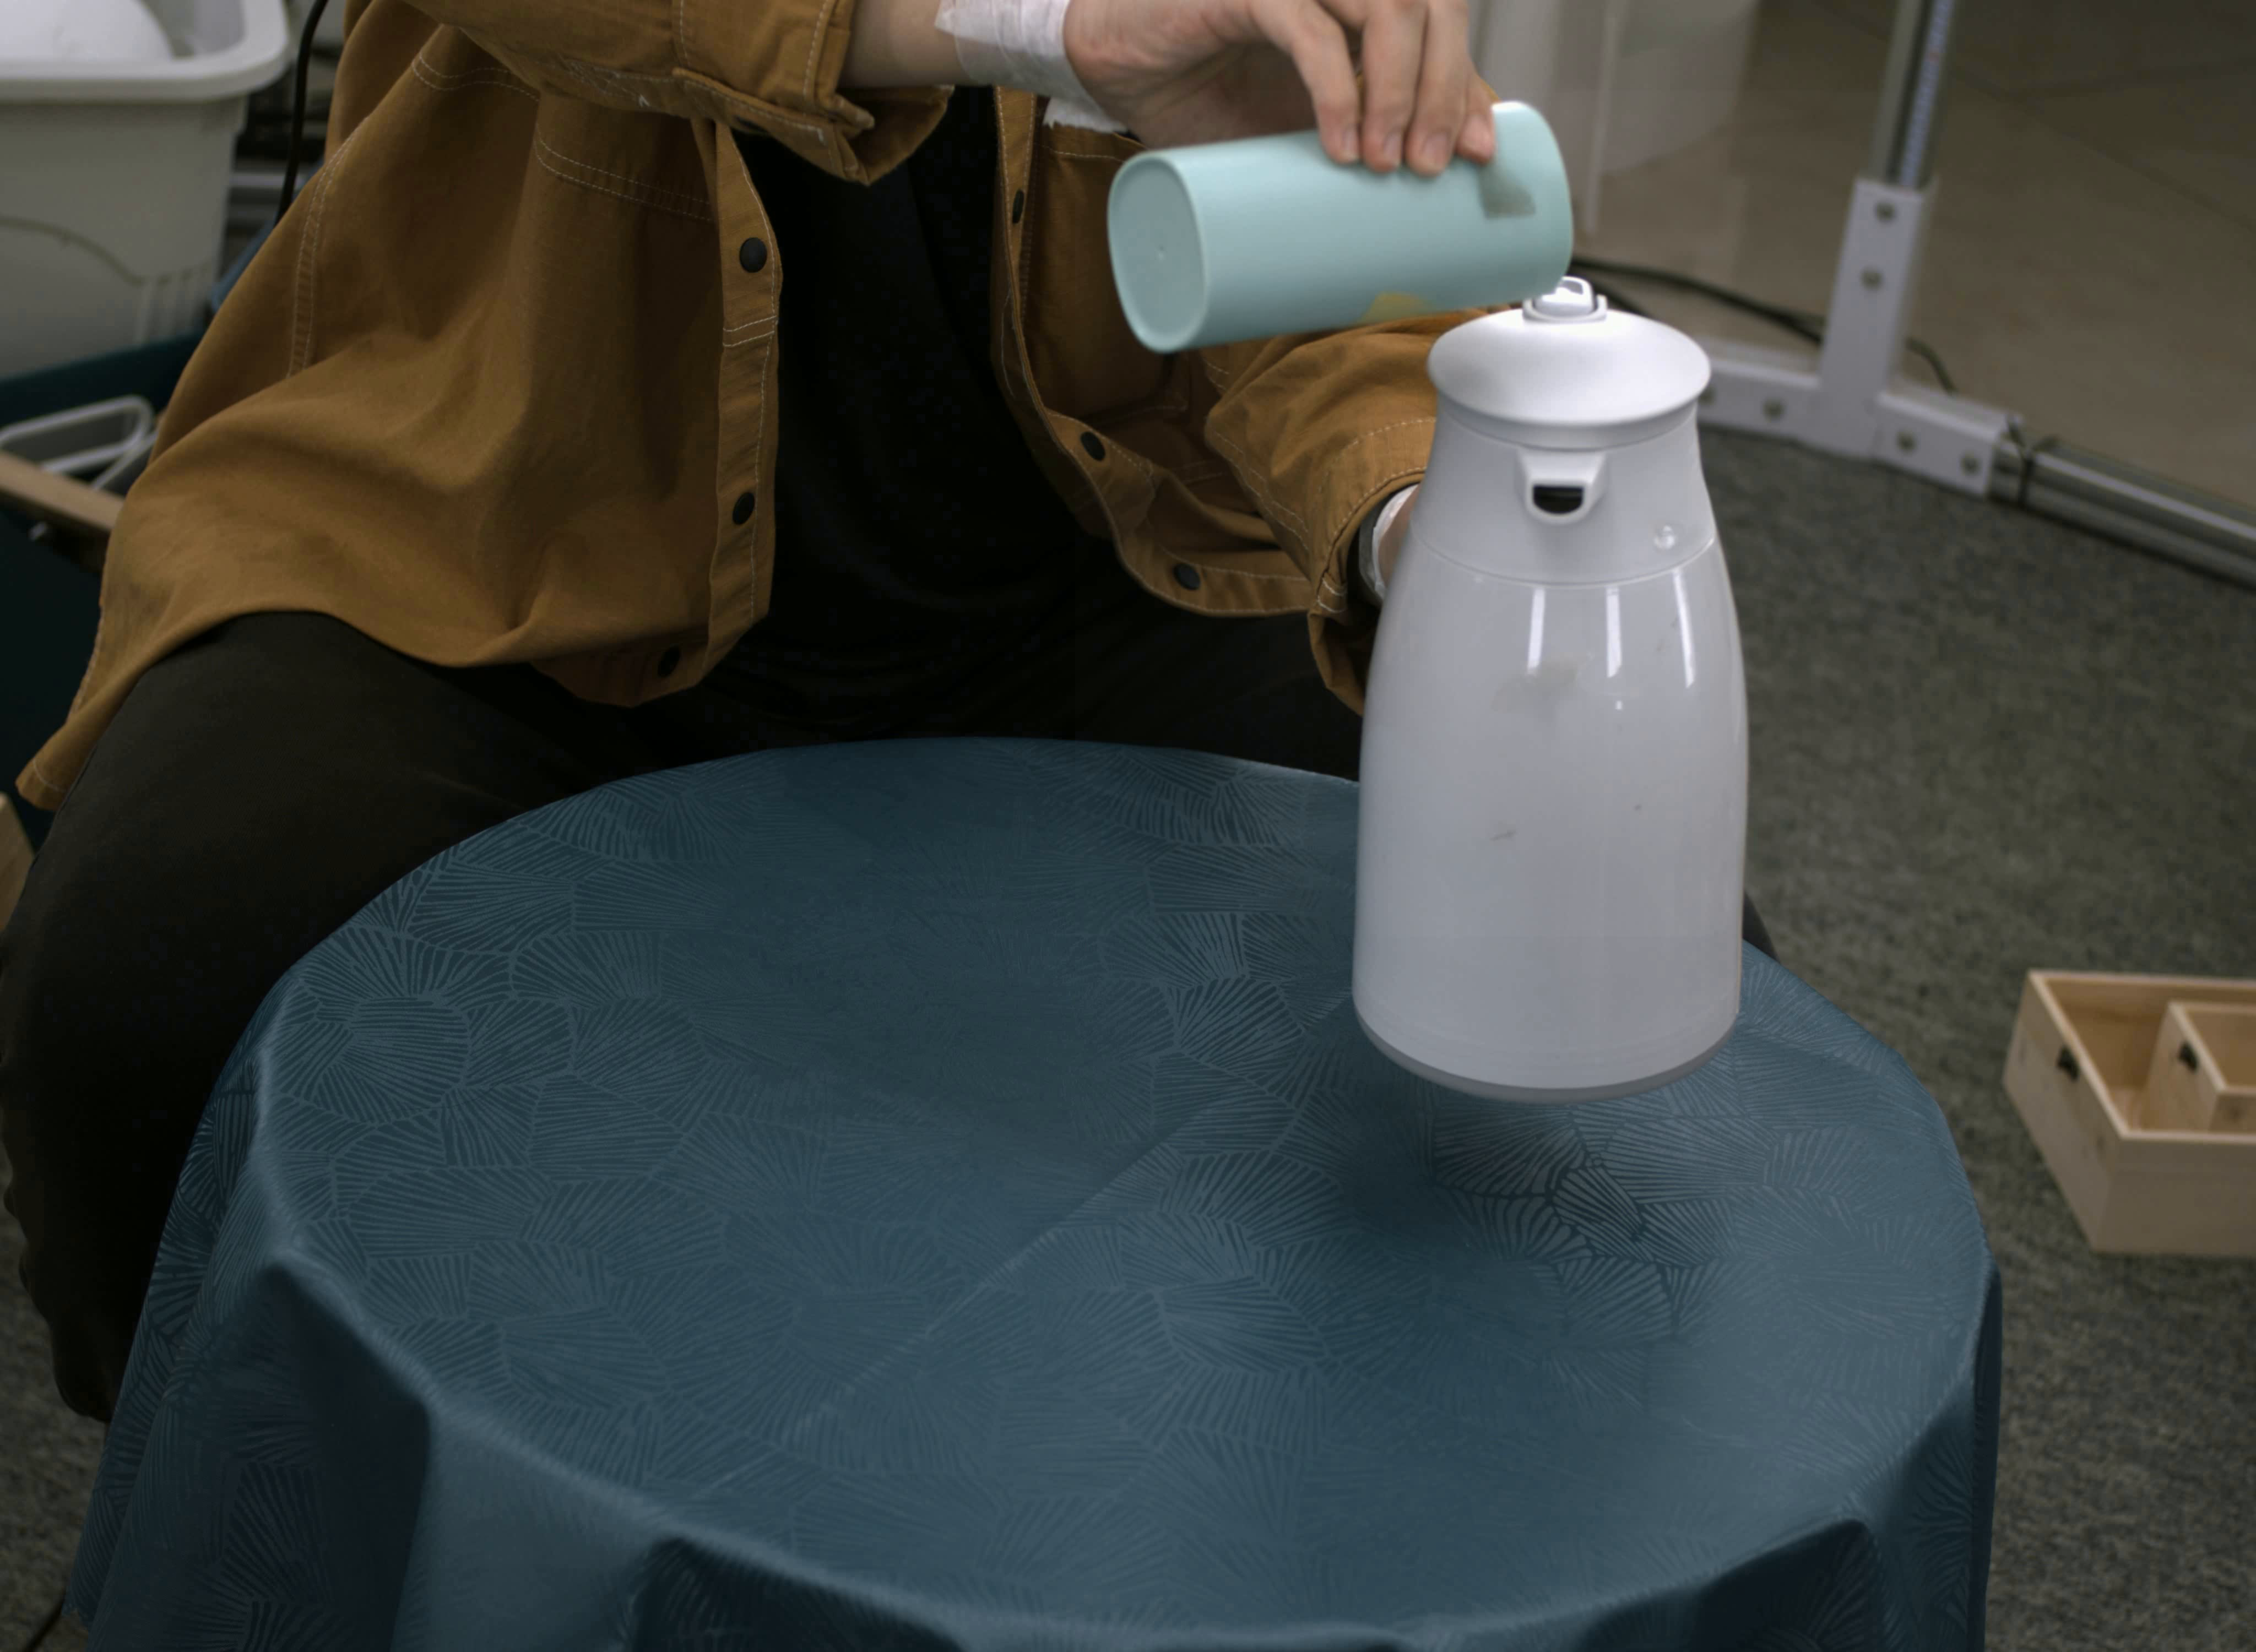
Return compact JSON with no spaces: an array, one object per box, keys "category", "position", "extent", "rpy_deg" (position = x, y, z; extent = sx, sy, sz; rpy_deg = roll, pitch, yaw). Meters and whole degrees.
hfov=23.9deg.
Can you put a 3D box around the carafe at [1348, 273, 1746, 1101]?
[{"category":"carafe","position":[0.142,-0.057,1.781],"extent":[0.132,0.247,0.168],"rpy_deg":[2,27,5]}]

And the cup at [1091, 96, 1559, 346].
[{"category":"cup","position":[0.061,-0.188,1.645],"extent":[0.131,0.066,0.067],"rpy_deg":[-10,32,-26]}]
